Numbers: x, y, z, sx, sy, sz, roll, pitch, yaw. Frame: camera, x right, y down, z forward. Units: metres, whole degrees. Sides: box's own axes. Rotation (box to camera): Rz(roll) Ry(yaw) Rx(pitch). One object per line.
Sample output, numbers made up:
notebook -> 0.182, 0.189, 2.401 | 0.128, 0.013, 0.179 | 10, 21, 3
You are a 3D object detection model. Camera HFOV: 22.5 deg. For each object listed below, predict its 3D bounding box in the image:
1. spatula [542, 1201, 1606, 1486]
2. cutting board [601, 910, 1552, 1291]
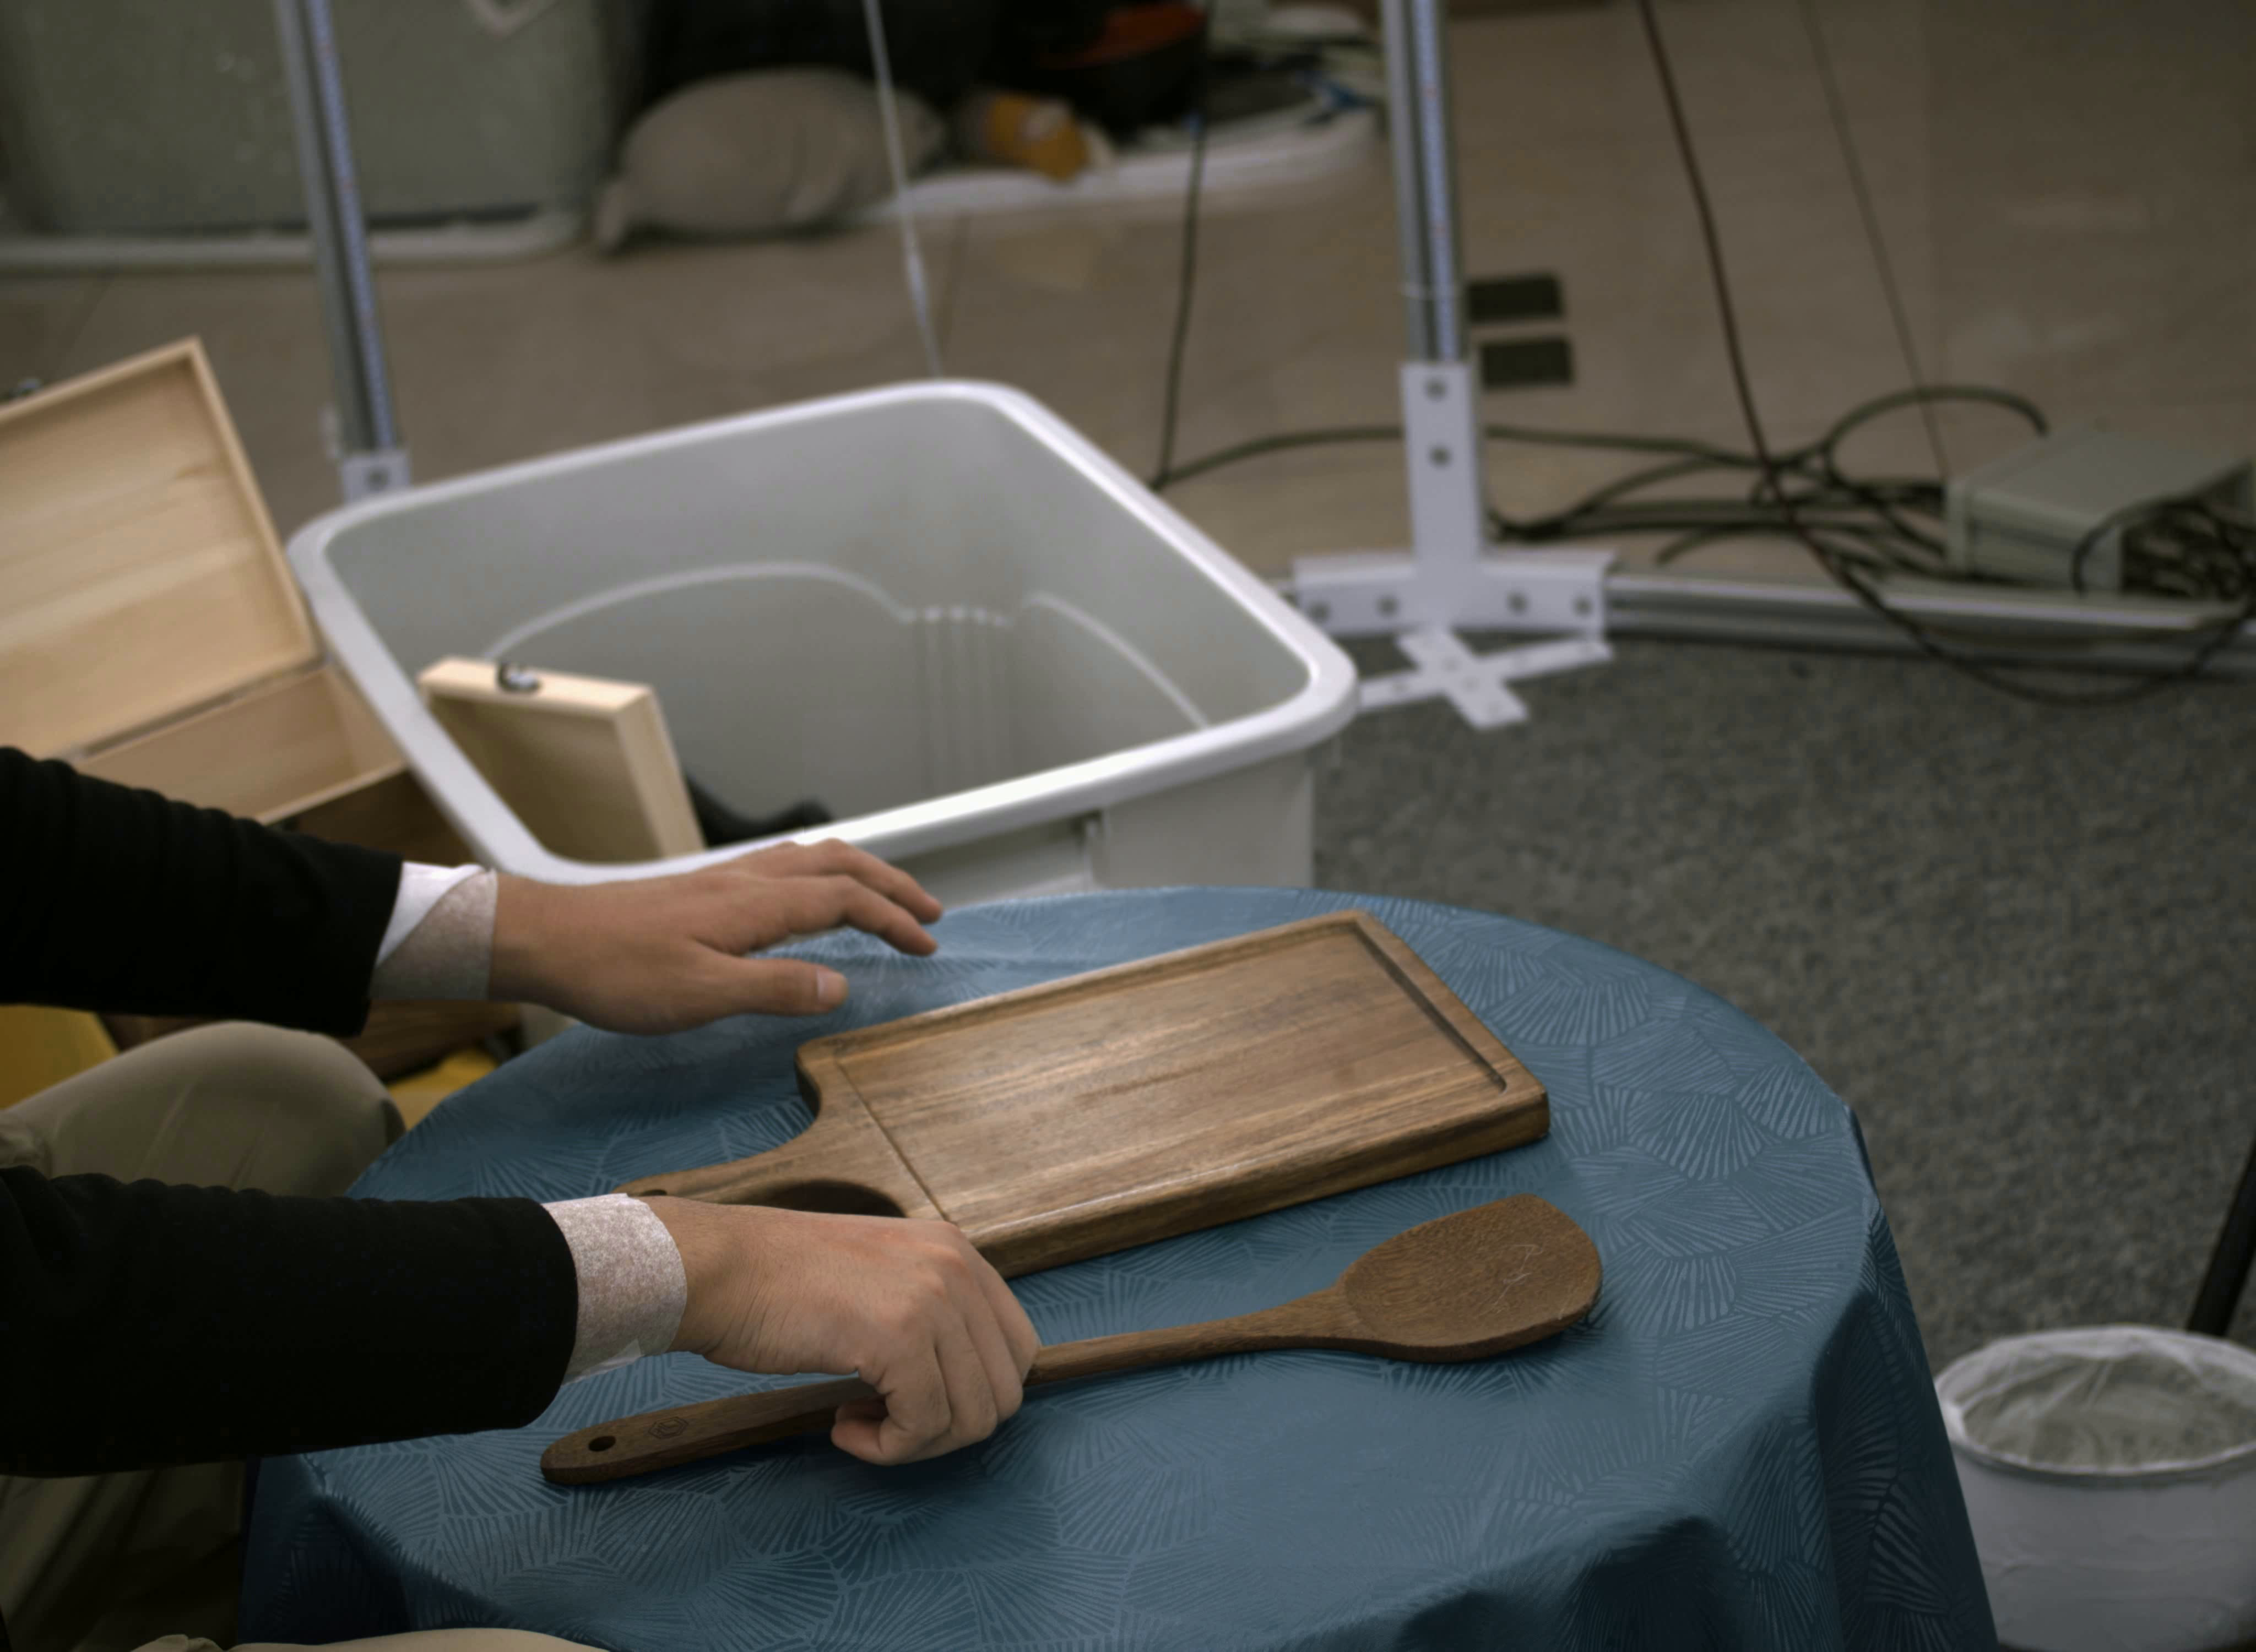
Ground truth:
spatula -> -0.019, 0.190, 2.024 | 0.385, 0.016, 0.095 | -10, 25, -7
cutting board -> -0.033, 0.113, 2.187 | 0.351, 0.023, 0.198 | -14, 26, -15
